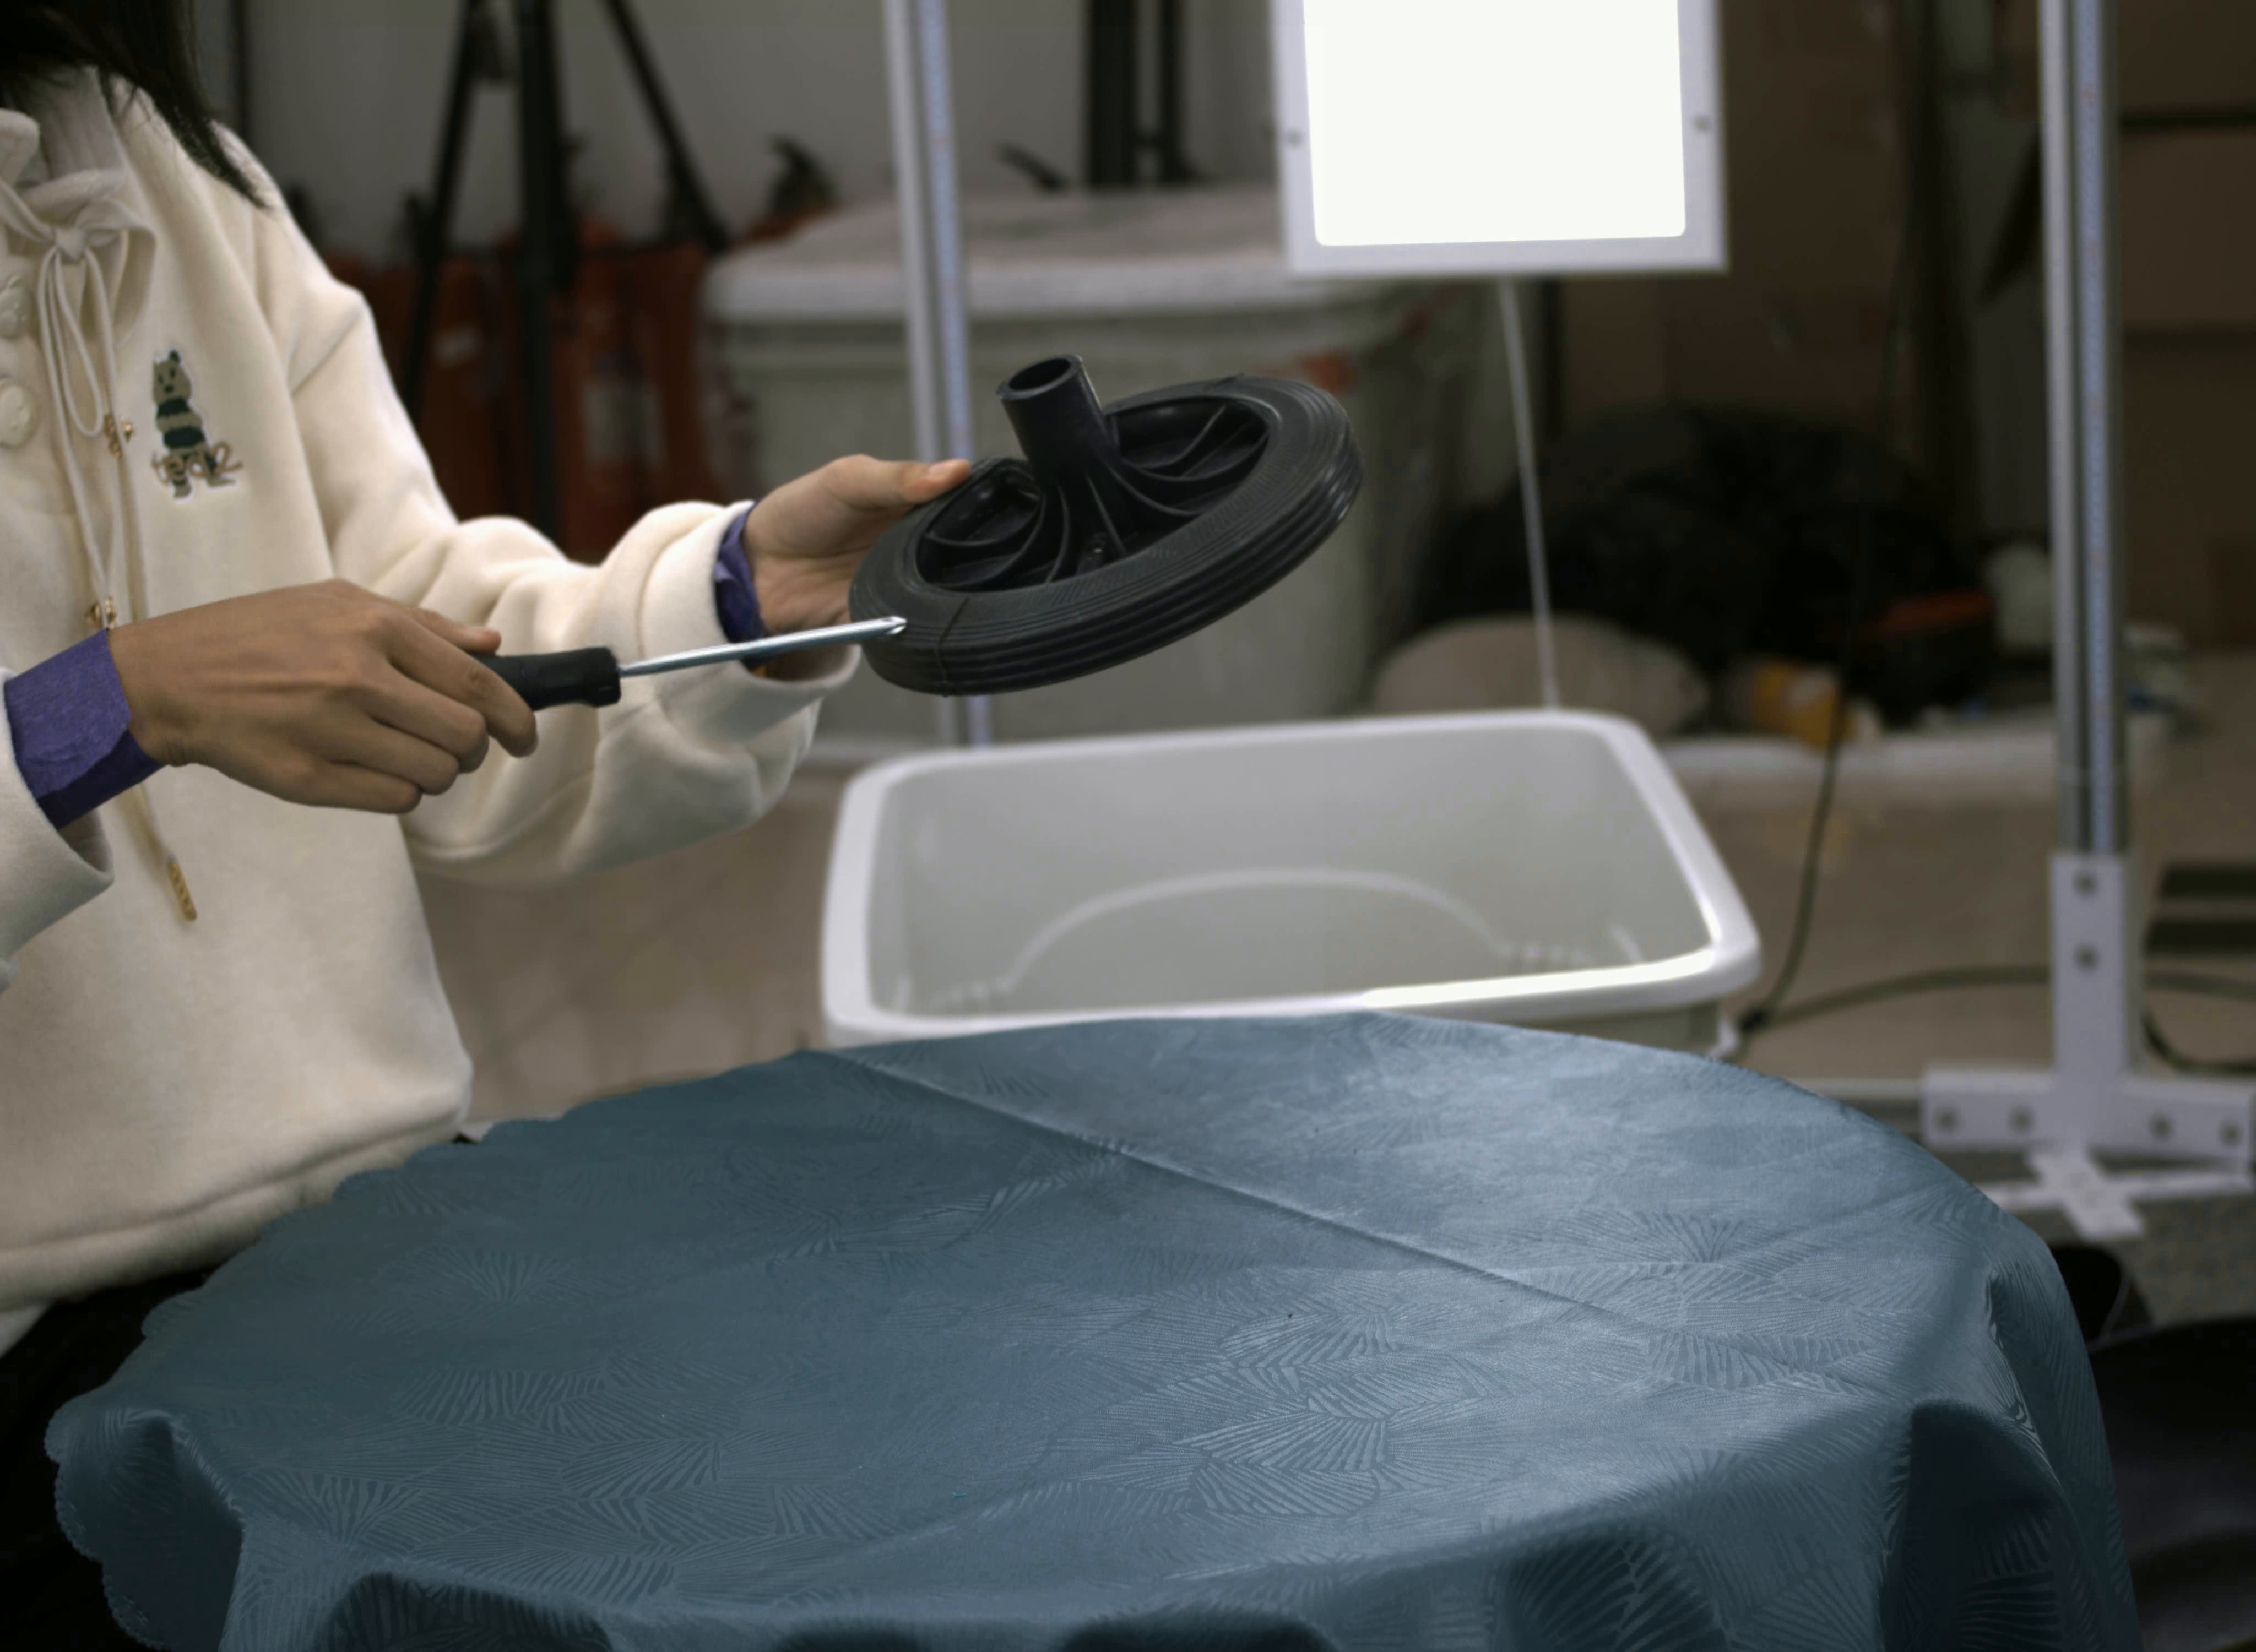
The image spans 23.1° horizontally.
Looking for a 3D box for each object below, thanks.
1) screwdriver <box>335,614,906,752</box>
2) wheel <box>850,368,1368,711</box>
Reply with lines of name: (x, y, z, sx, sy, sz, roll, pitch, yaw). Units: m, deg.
screwdriver: (-0.172, -0.056, 1.869, 0.195, 0.031, 0.031, -14, 15, -5)
wheel: (-0.014, -0.117, 1.906, 0.186, 0.079, 0.191, -26, 27, -4)
